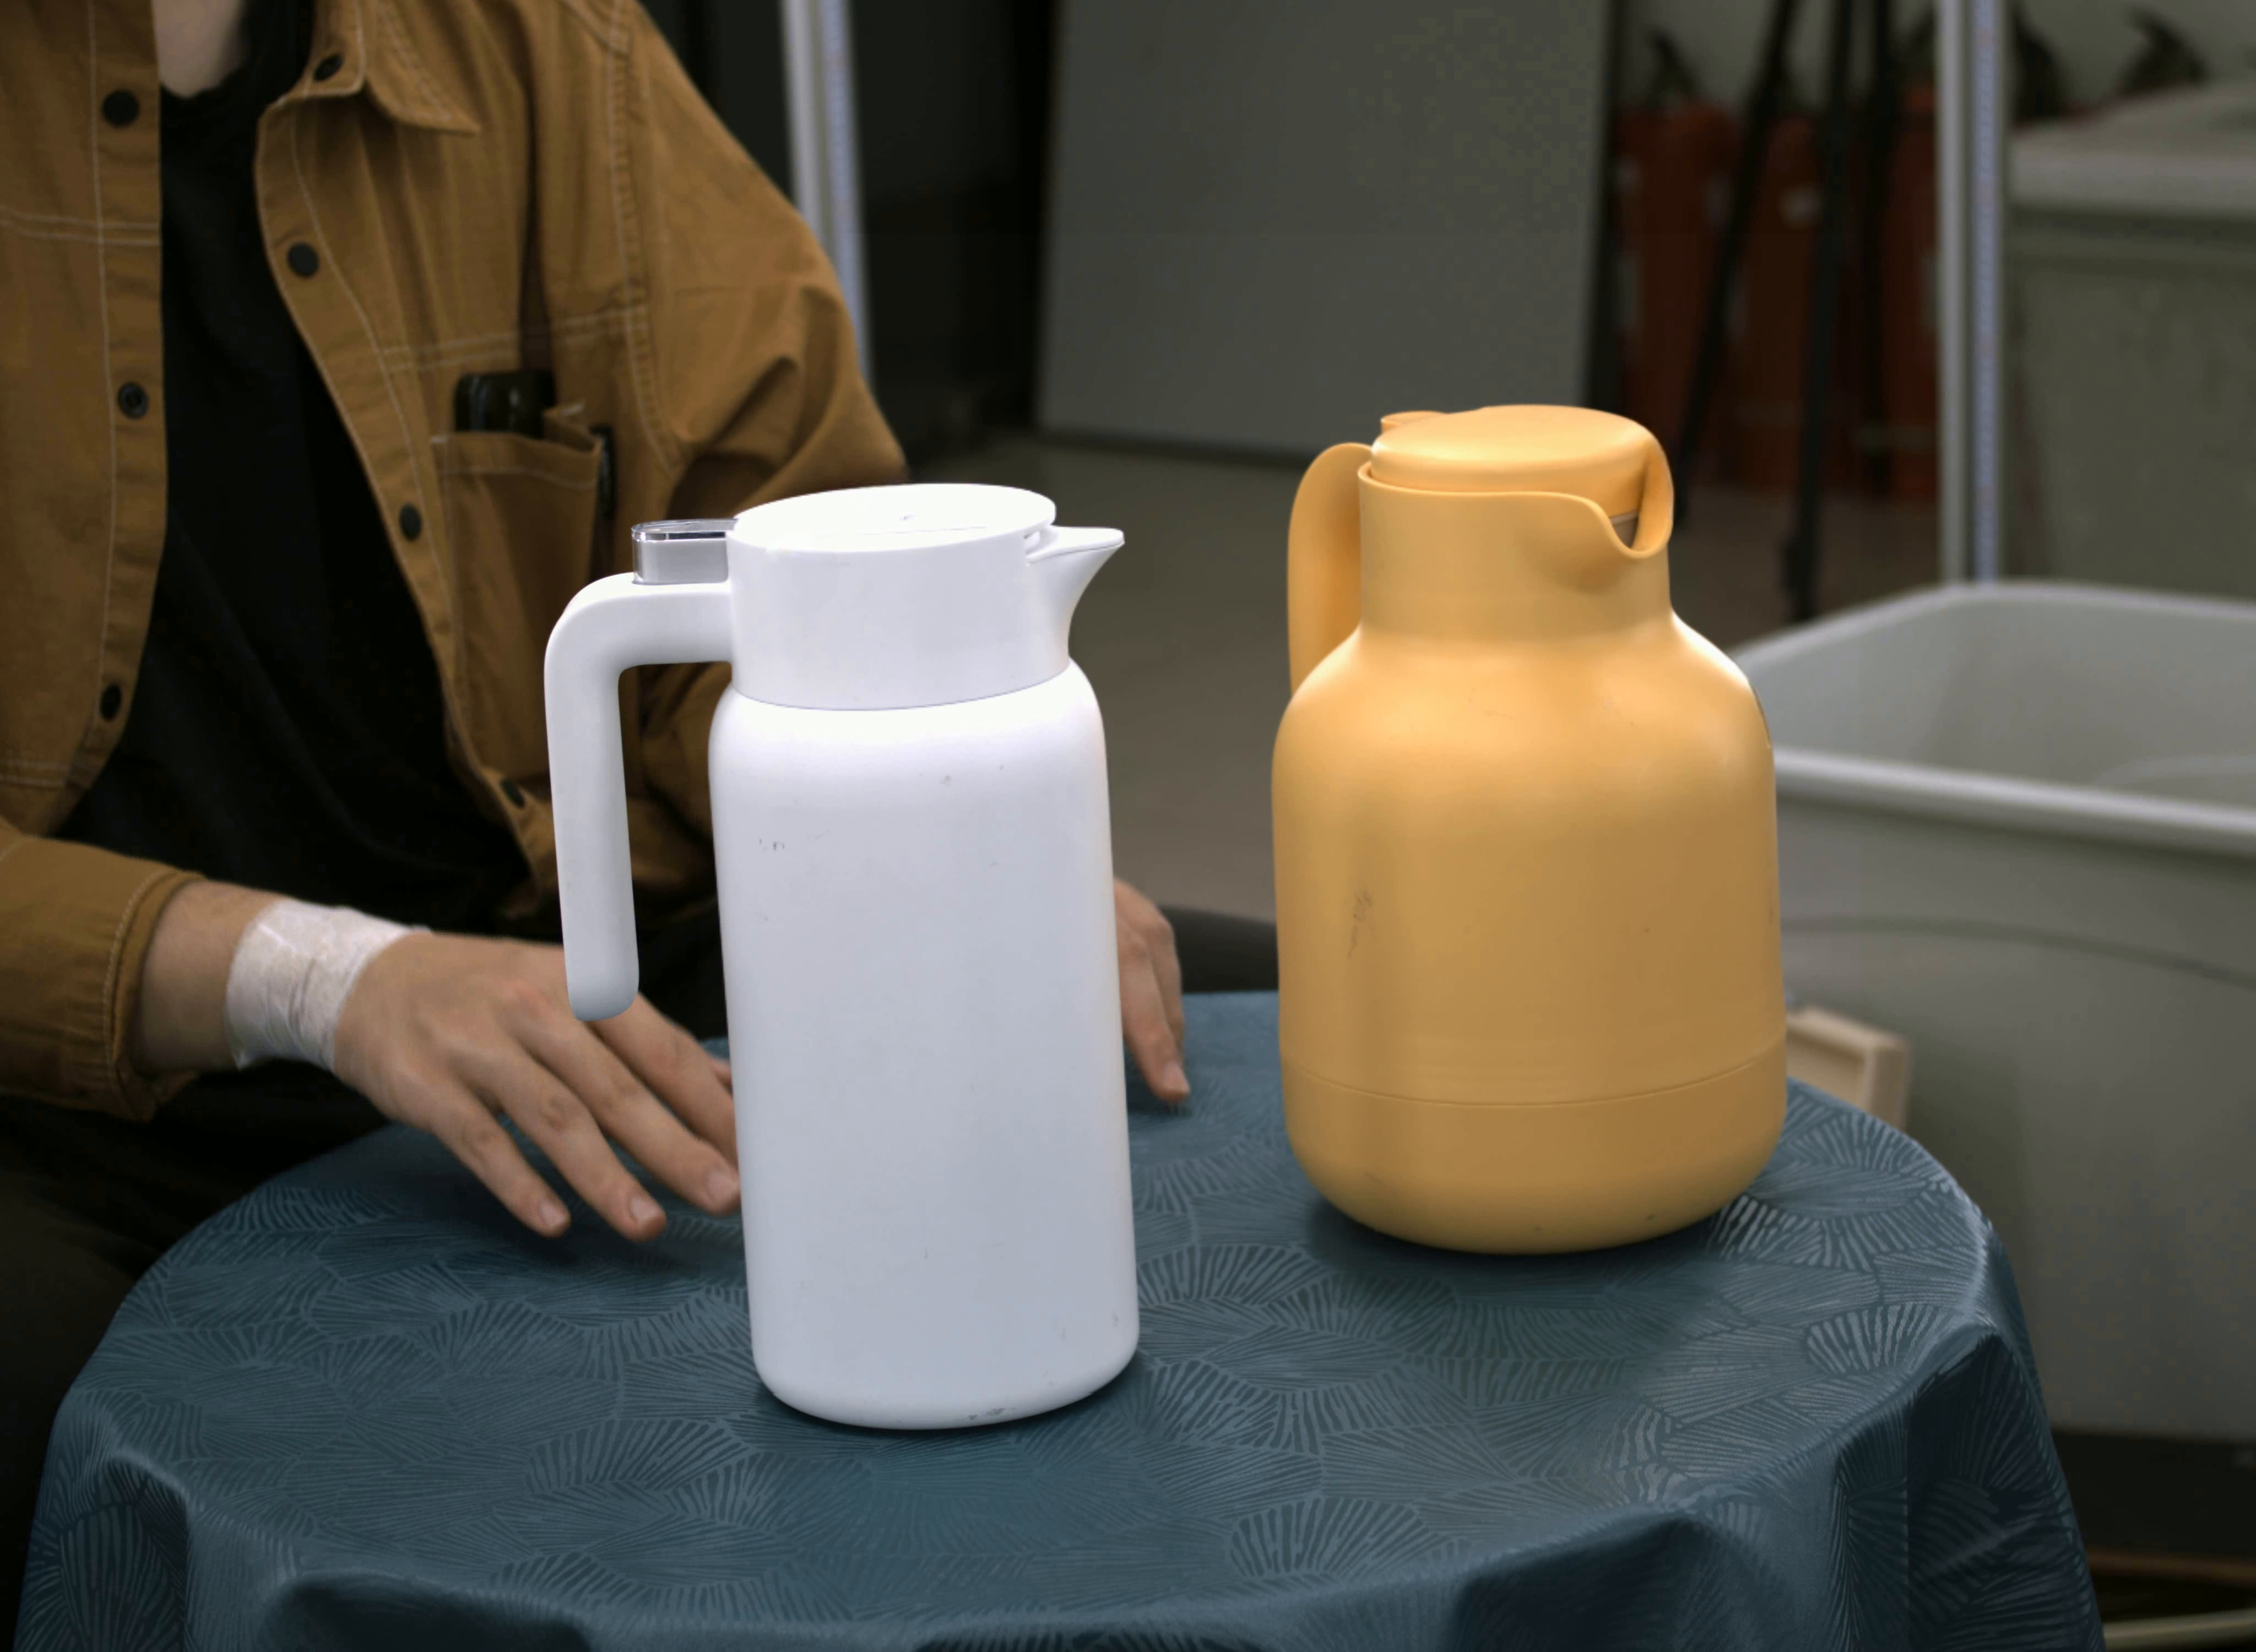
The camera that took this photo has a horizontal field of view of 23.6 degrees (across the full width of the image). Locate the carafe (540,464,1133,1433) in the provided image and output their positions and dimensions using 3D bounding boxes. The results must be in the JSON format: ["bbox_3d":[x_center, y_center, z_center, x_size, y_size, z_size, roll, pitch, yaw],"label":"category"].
[{"bbox_3d":[-0.080,0.036,1.584,0.171,0.272,0.124,-3,15,3],"label":"carafe"}]

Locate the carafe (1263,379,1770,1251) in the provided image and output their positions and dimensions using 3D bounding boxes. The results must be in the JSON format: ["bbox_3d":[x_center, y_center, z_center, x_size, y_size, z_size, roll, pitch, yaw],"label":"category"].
[{"bbox_3d":[0.115,-0.011,1.720,0.160,0.263,0.204,-7,15,-25],"label":"carafe"}]
